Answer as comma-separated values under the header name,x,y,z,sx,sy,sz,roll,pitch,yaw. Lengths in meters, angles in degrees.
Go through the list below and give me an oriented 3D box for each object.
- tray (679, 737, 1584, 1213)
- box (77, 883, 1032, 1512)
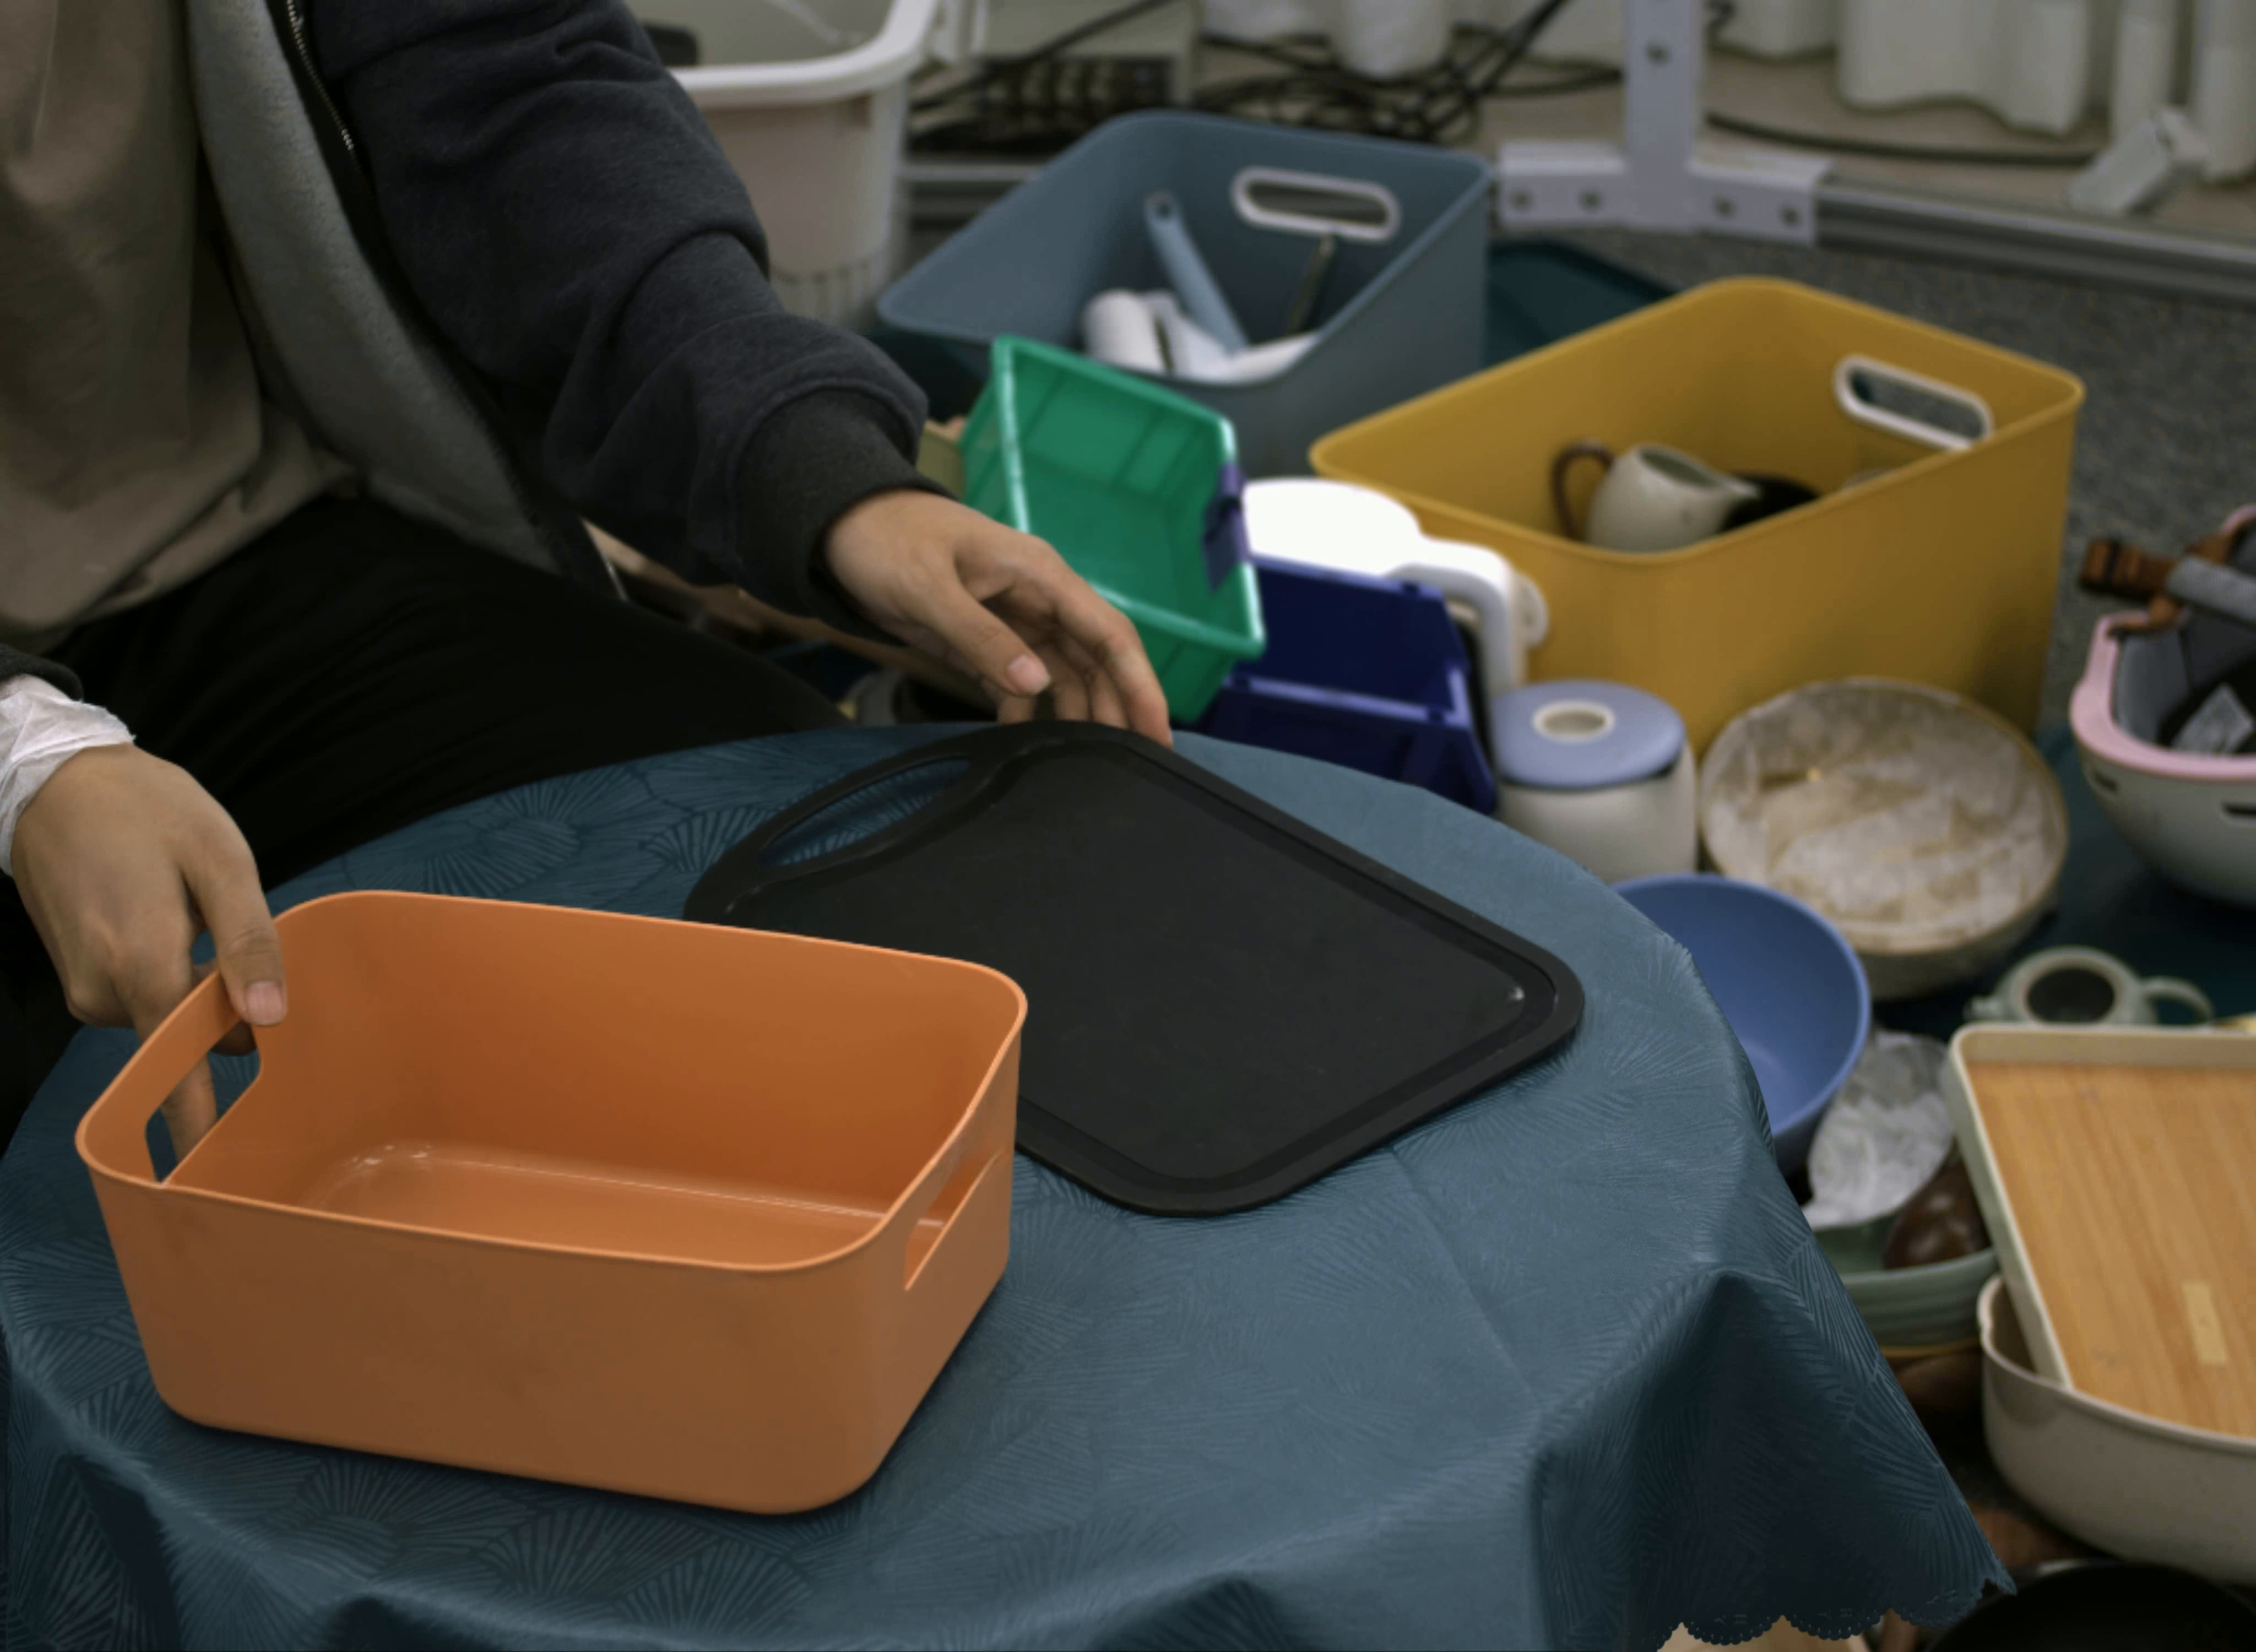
name,x,y,z,sx,sy,sz,roll,pitch,yaw
tray,-0.009,0.044,1.994,0.213,0.009,0.325,-26,36,-34
box,-0.174,0.117,1.776,0.271,0.101,0.203,7,29,17
